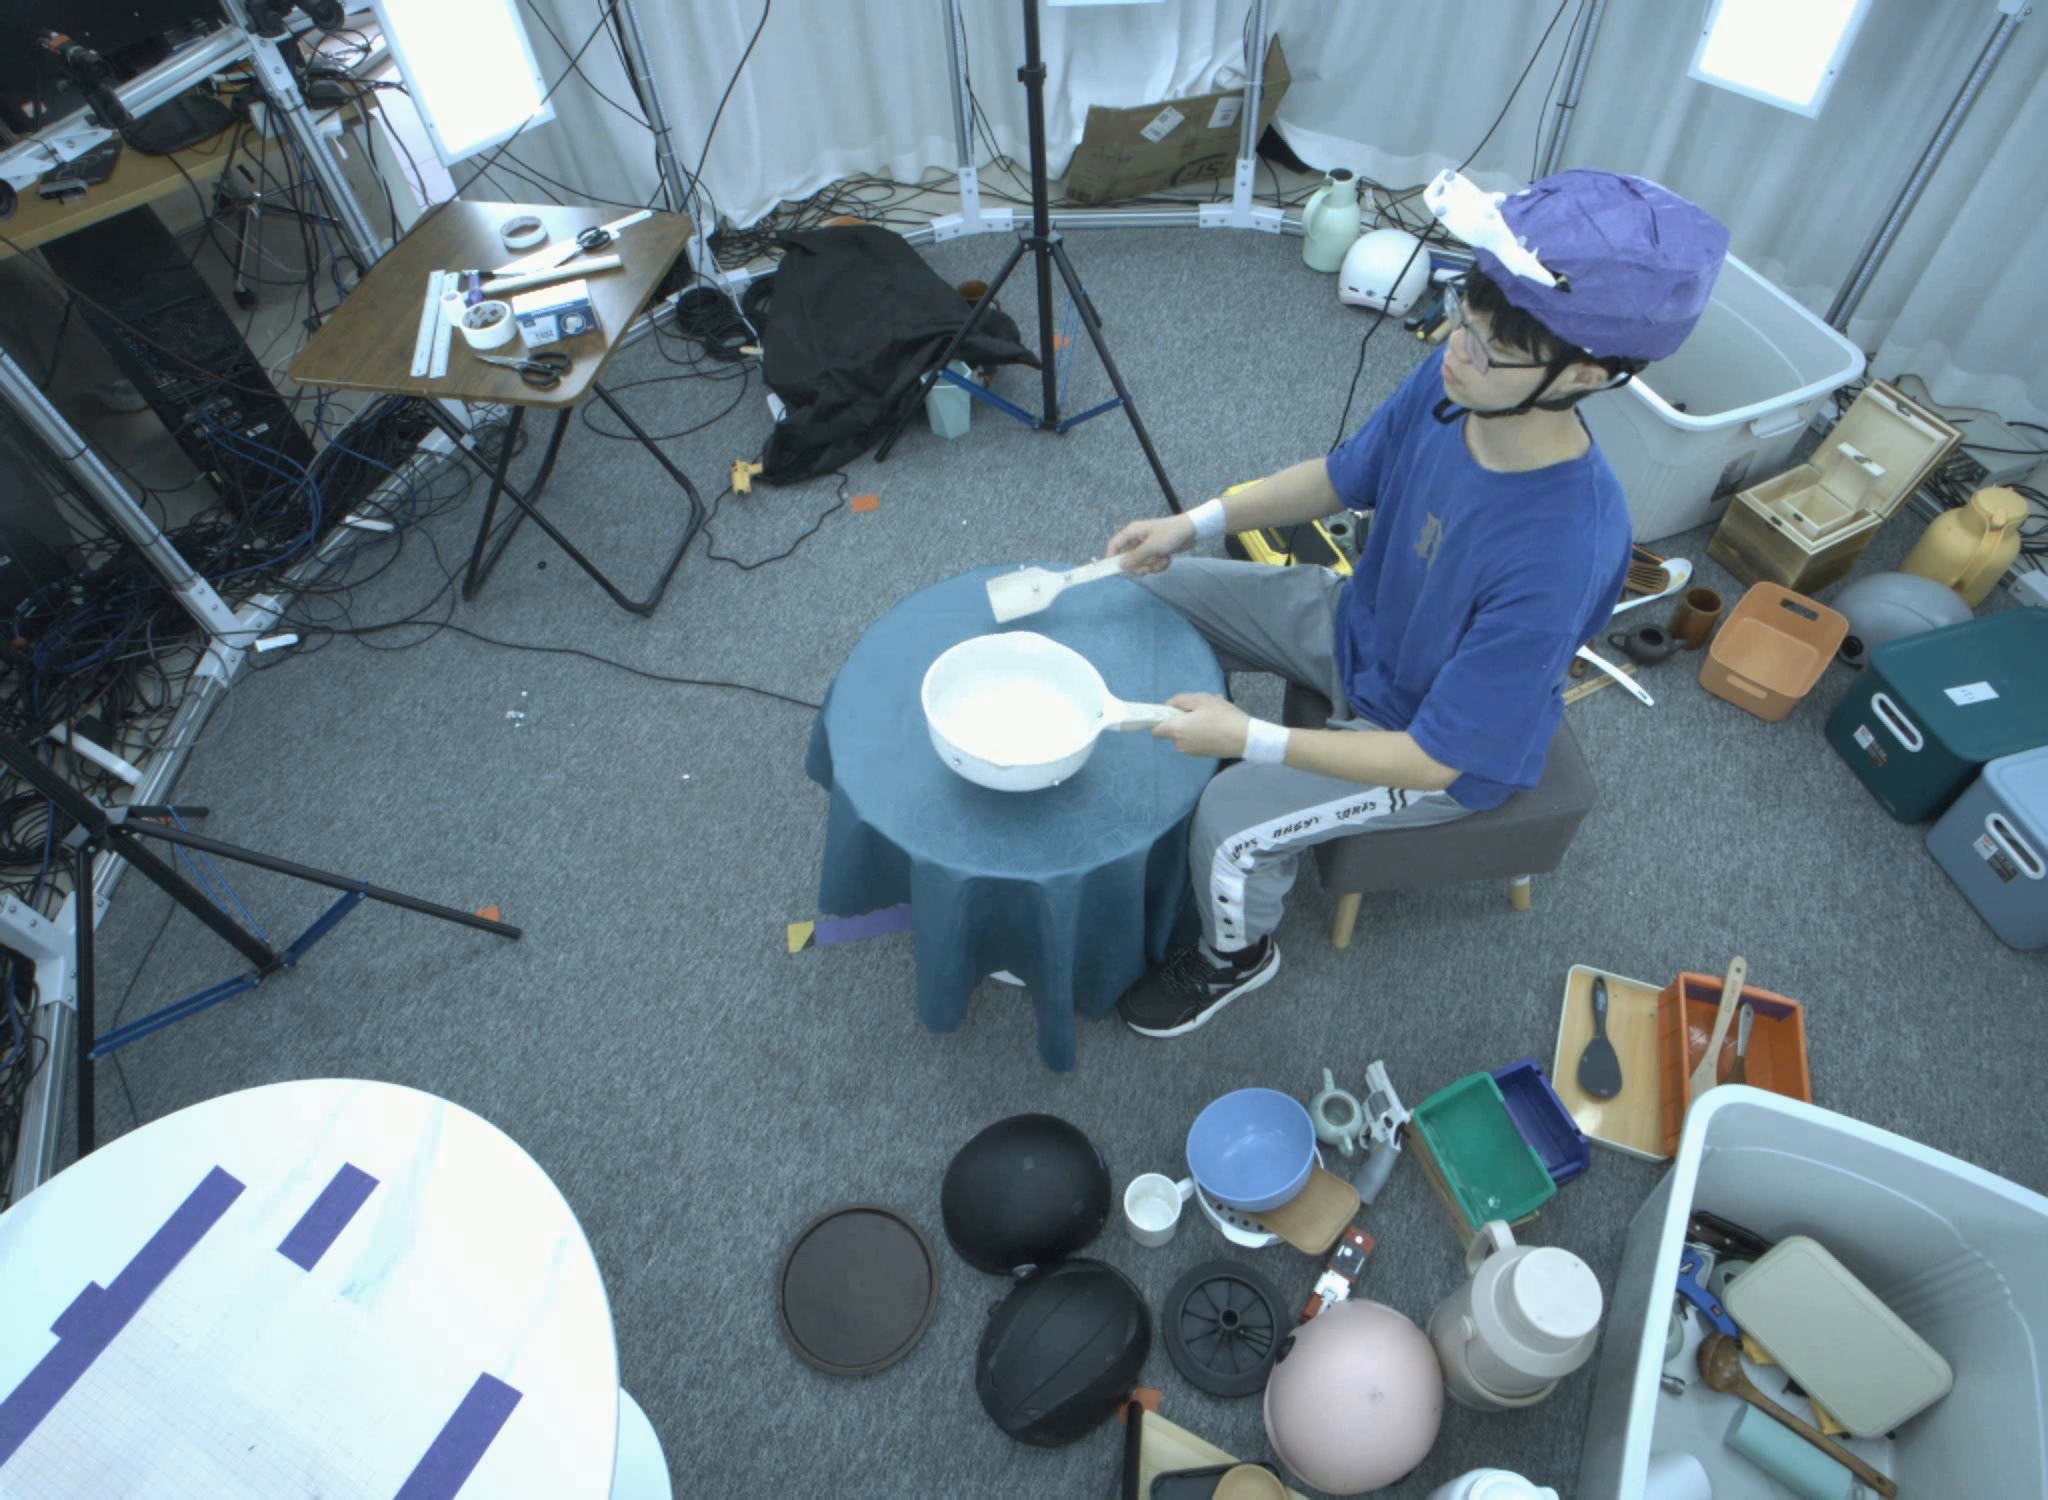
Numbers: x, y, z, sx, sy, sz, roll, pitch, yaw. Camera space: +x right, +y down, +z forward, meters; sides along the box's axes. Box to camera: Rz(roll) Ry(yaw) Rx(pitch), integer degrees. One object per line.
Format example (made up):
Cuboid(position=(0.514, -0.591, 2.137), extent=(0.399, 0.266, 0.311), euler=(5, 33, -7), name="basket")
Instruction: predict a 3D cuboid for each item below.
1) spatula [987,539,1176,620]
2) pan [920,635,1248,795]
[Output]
Cuboid(position=(0.090, -0.272, 1.883), extent=(0.292, 0.011, 0.072), euler=(-16, 88, 3), name="spatula")
Cuboid(position=(0.077, -0.035, 1.658), extent=(0.435, 0.102, 0.261), euler=(8, 45, -1), name="pan")
